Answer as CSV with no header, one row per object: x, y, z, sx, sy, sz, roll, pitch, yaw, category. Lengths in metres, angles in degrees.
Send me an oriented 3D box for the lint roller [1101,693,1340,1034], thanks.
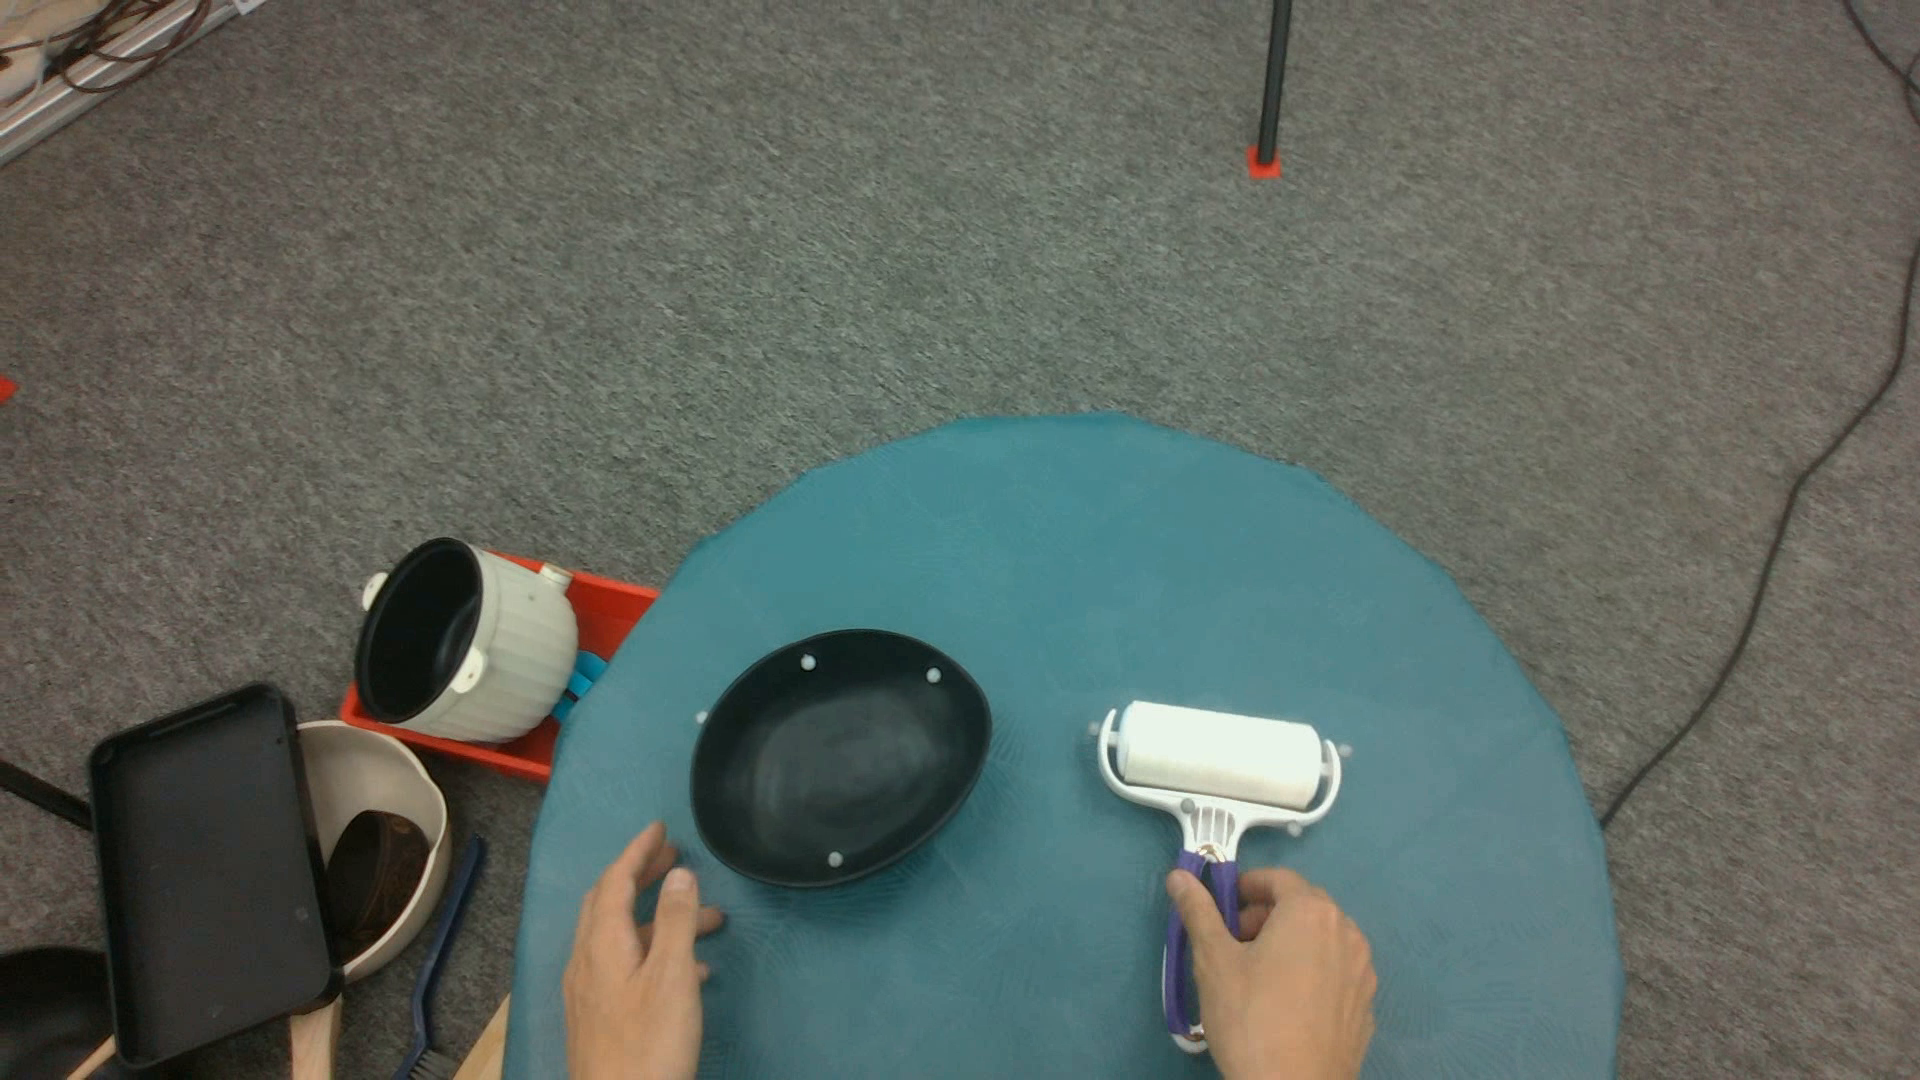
0.133,0.170,0.745,0.133,0.050,0.181,10,56,8,lint roller

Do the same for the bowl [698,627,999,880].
-0.061,0.123,0.776,0.170,0.066,0.137,-26,66,-13,bowl
